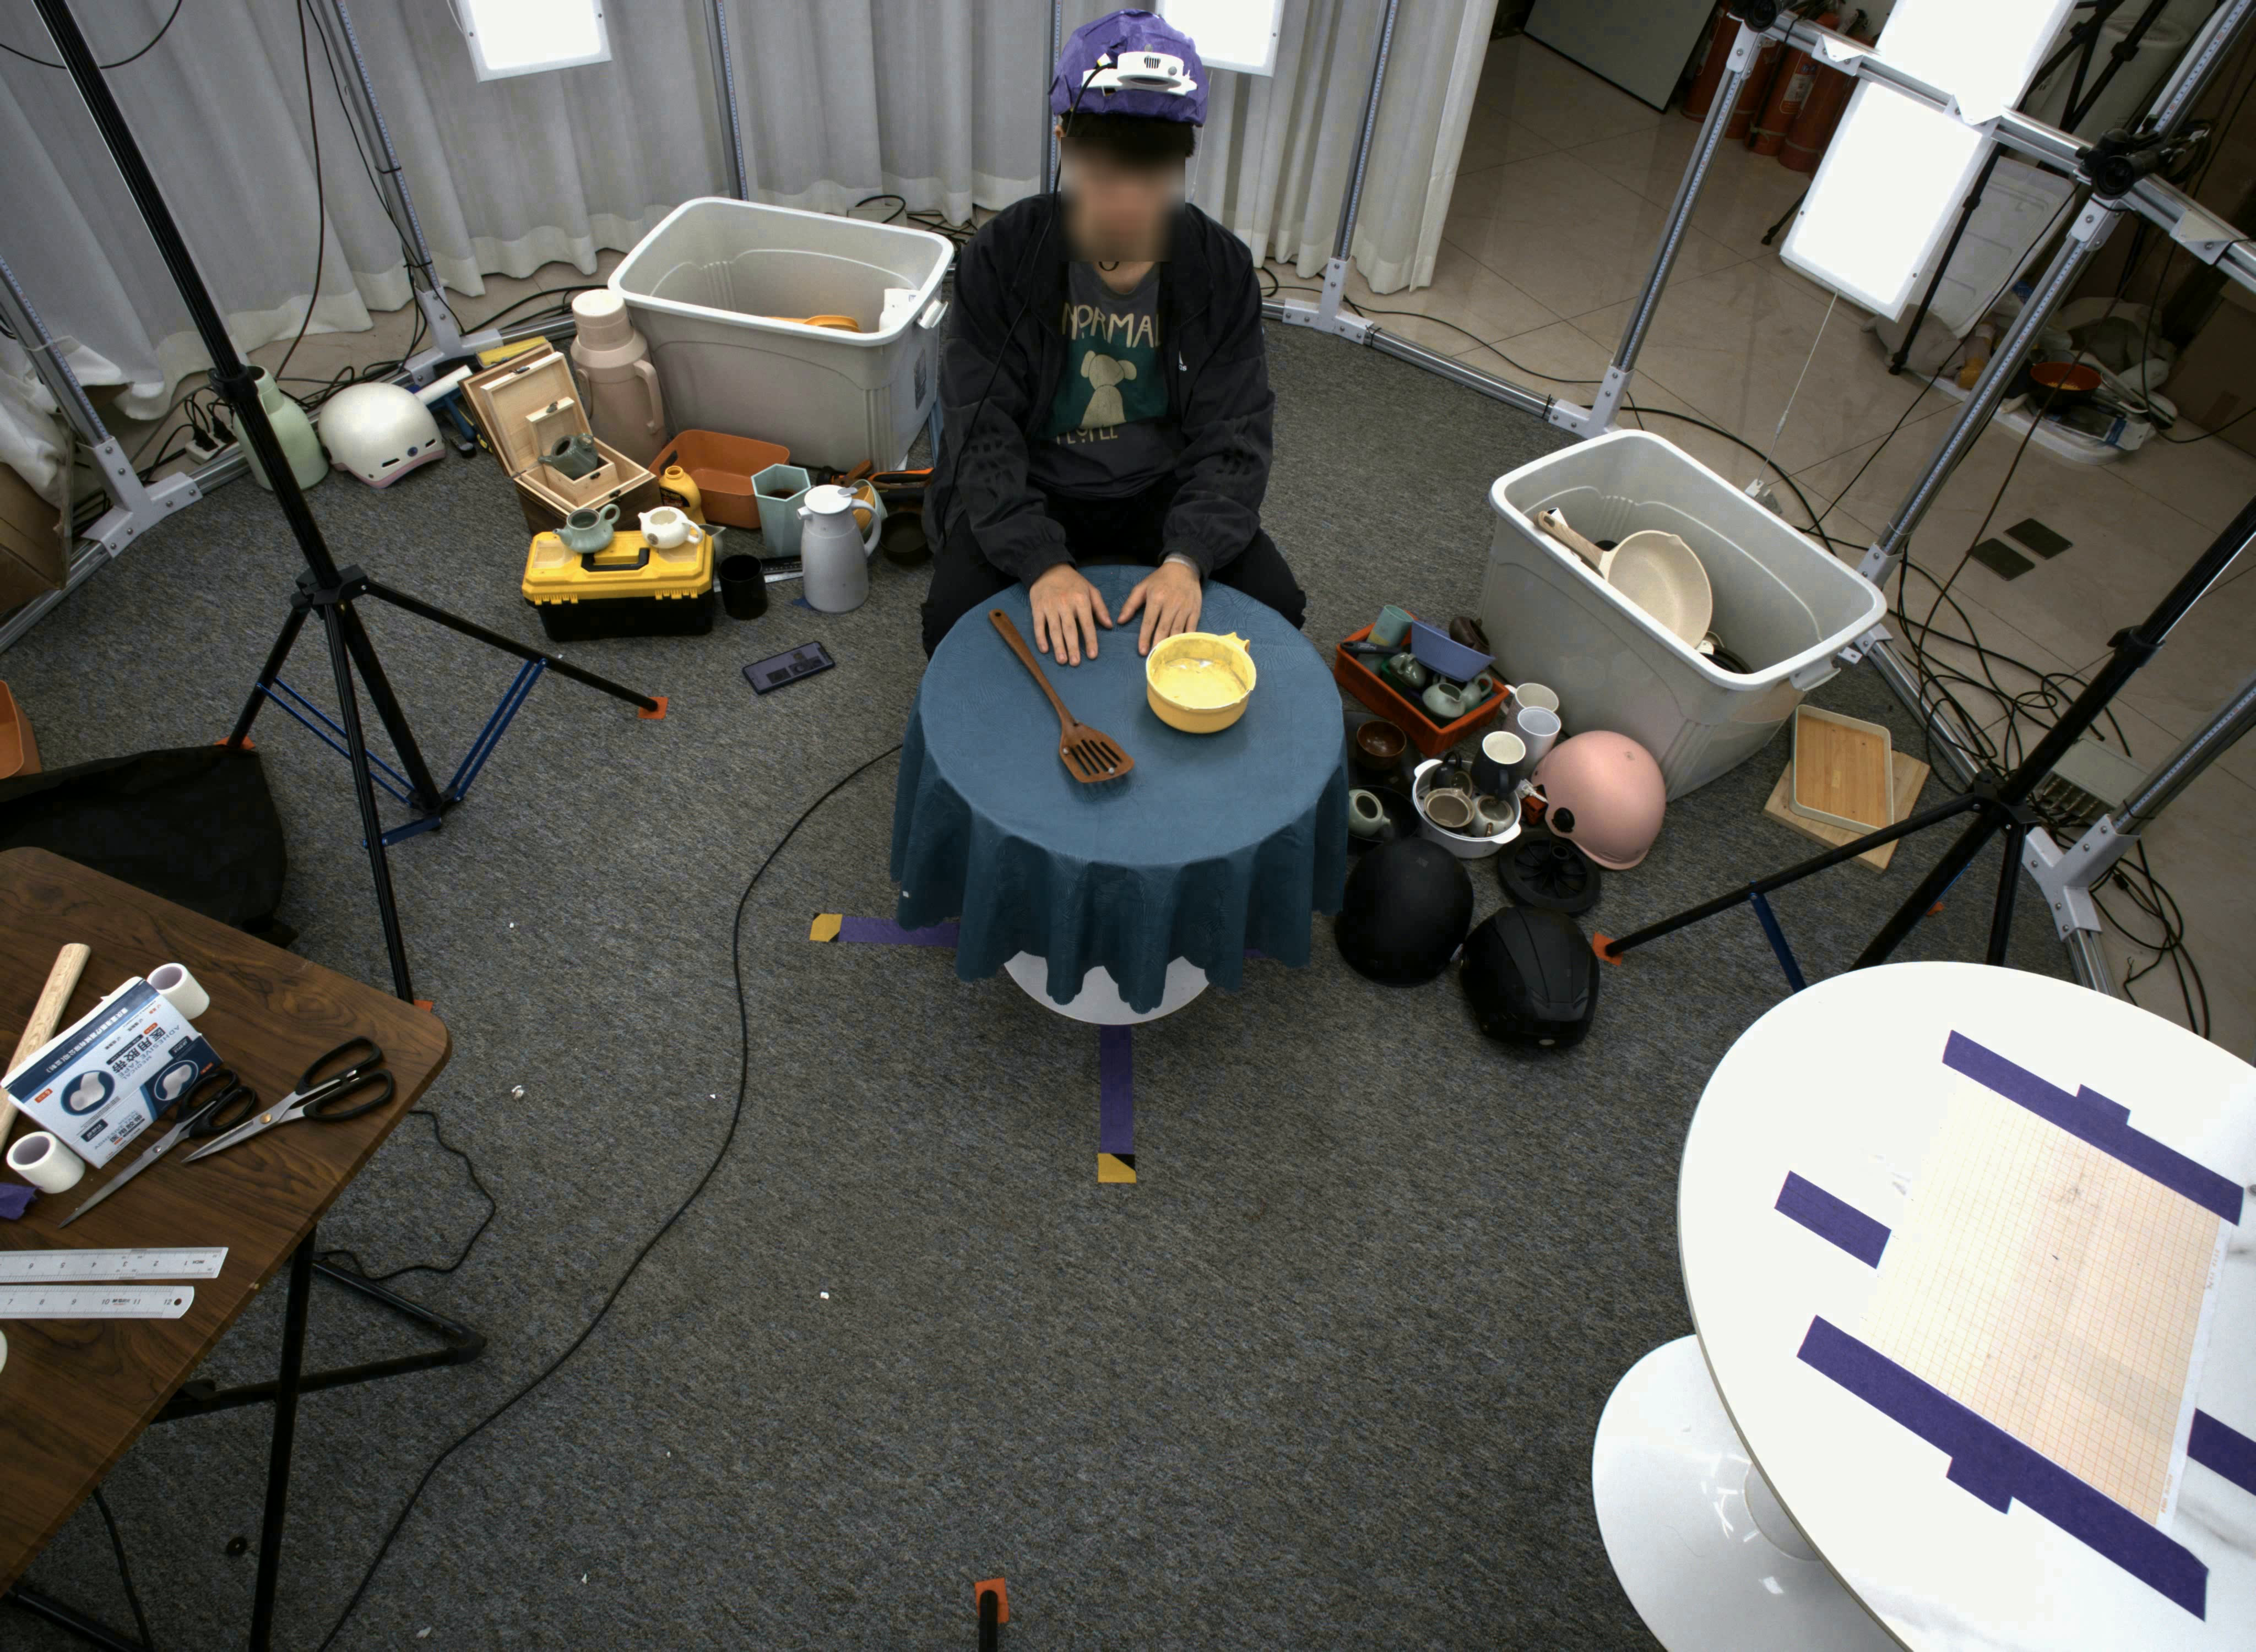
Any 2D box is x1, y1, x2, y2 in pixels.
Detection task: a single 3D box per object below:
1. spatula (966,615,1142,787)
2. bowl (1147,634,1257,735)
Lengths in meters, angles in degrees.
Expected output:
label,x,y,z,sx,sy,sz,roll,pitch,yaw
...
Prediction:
label,x,y,z,sx,sy,sz,roll,pitch,yaw
spatula,-0.121,-0.180,1.811,0.086,0.023,0.394,-21,55,-32
bowl,0.109,-0.203,1.809,0.154,0.072,0.182,28,53,19
